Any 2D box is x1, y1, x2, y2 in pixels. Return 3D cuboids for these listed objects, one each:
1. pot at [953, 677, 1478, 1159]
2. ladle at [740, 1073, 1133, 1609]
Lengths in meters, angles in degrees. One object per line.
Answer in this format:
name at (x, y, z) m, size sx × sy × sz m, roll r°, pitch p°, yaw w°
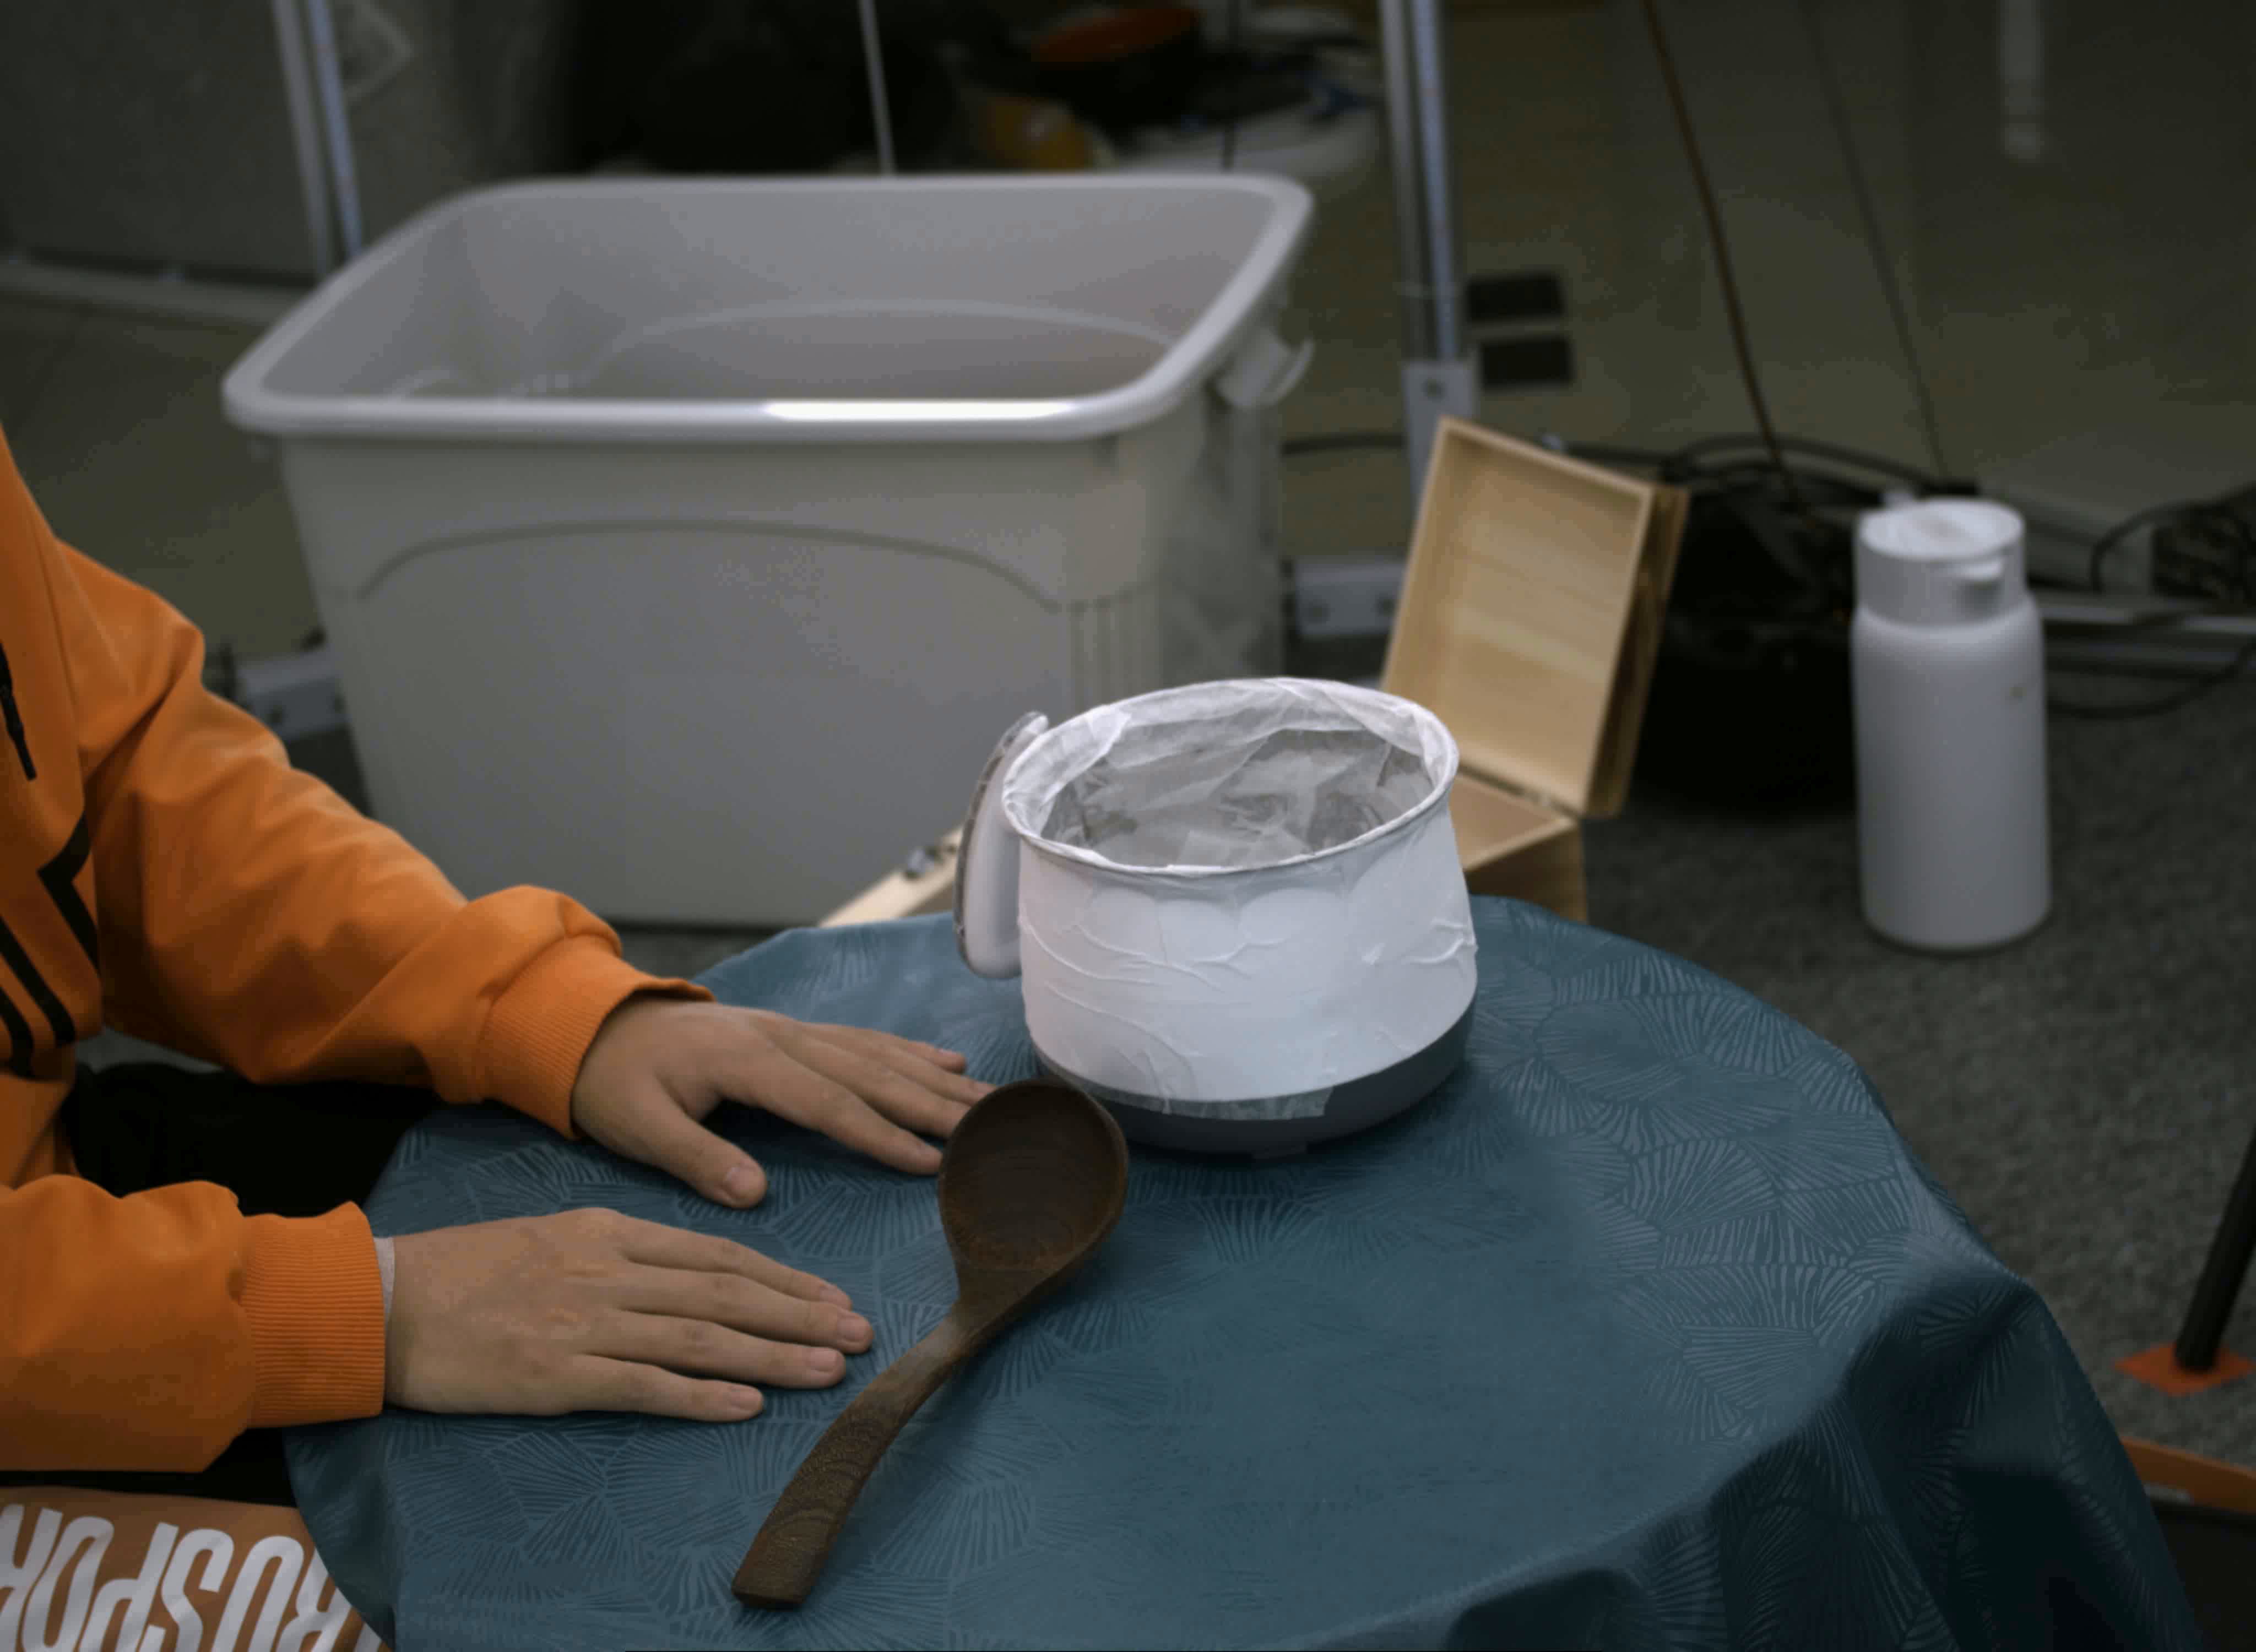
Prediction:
pot at (0.023, 0.031, 2.207) m, size 0.232 × 0.139 × 0.177 m, roll 14°, pitch 32°, yaw 36°
ladle at (-0.073, 0.175, 2.004) m, size 0.076 × 0.072 × 0.270 m, roll 3°, pitch 26°, yaw 24°
